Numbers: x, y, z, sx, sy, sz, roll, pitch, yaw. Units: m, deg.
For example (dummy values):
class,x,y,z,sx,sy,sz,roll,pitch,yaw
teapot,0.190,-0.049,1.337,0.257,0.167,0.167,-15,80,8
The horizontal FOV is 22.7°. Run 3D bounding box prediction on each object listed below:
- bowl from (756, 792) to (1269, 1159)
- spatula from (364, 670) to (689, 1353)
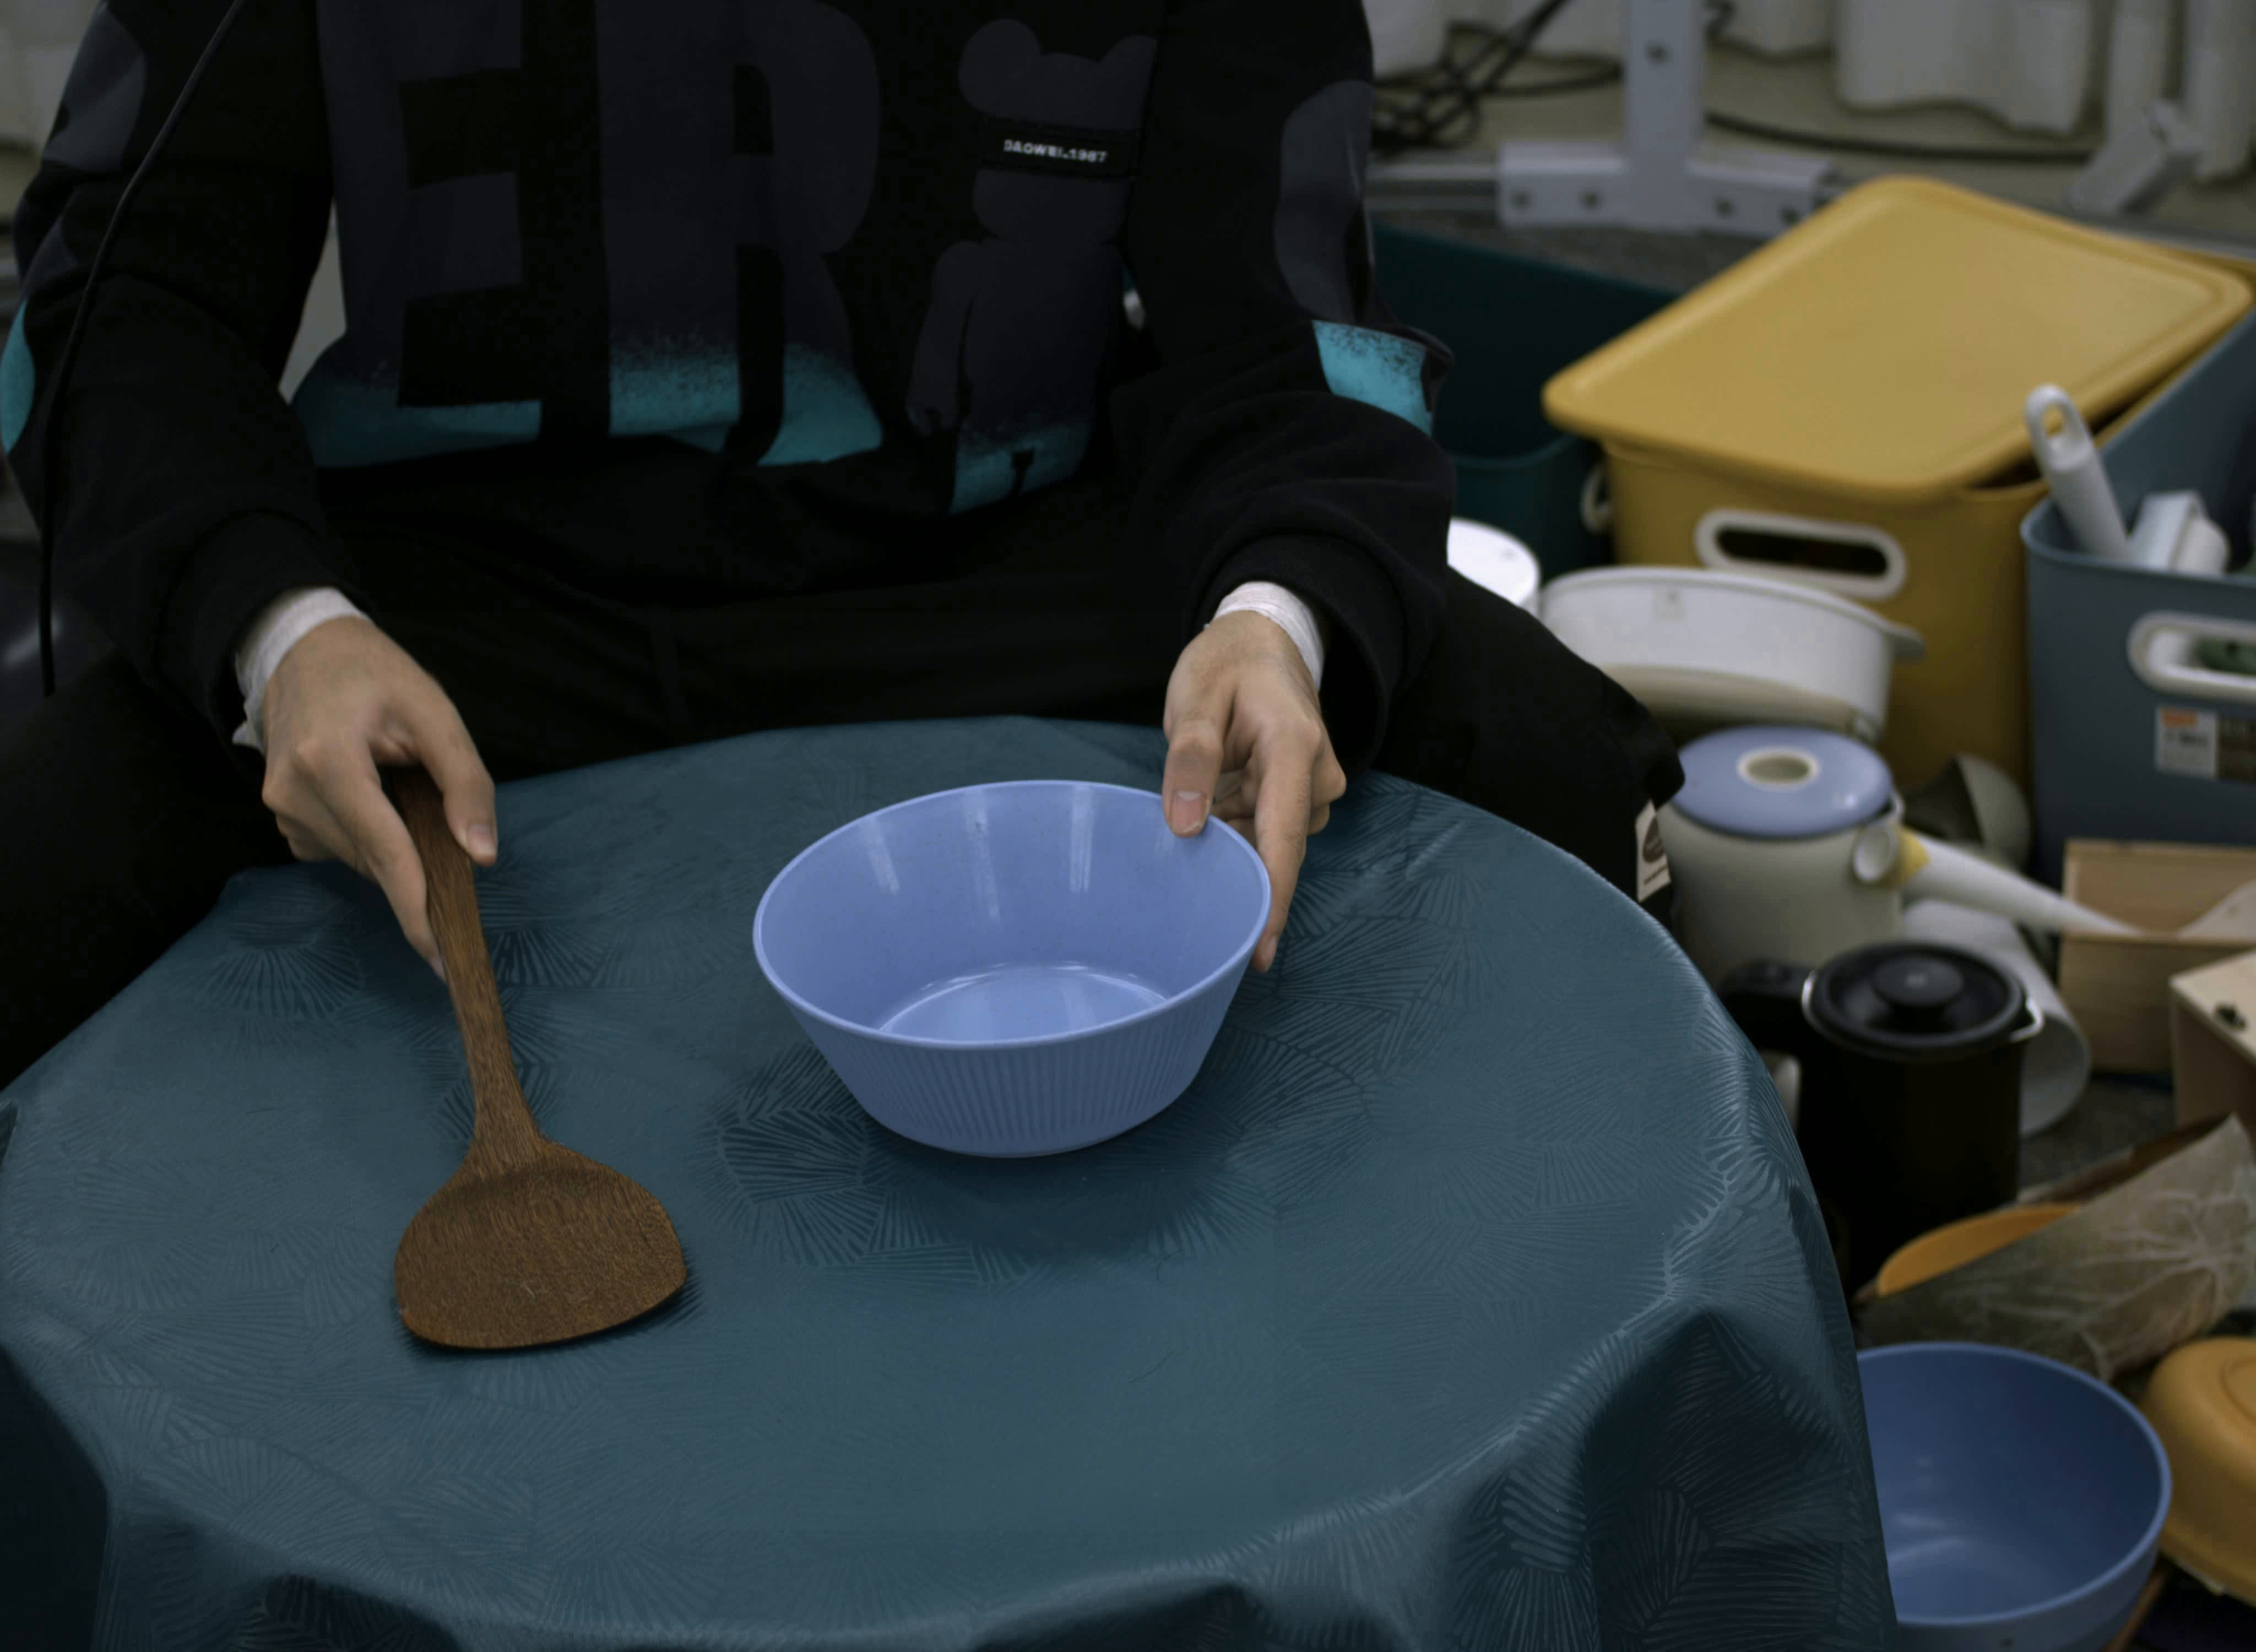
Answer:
class,x,y,z,sx,sy,sz,roll,pitch,yaw
bowl,-0.037,0.057,1.912,0.175,0.069,0.179,-3,27,2
spatula,-0.227,0.054,1.945,0.096,0.015,0.391,-9,38,-10
